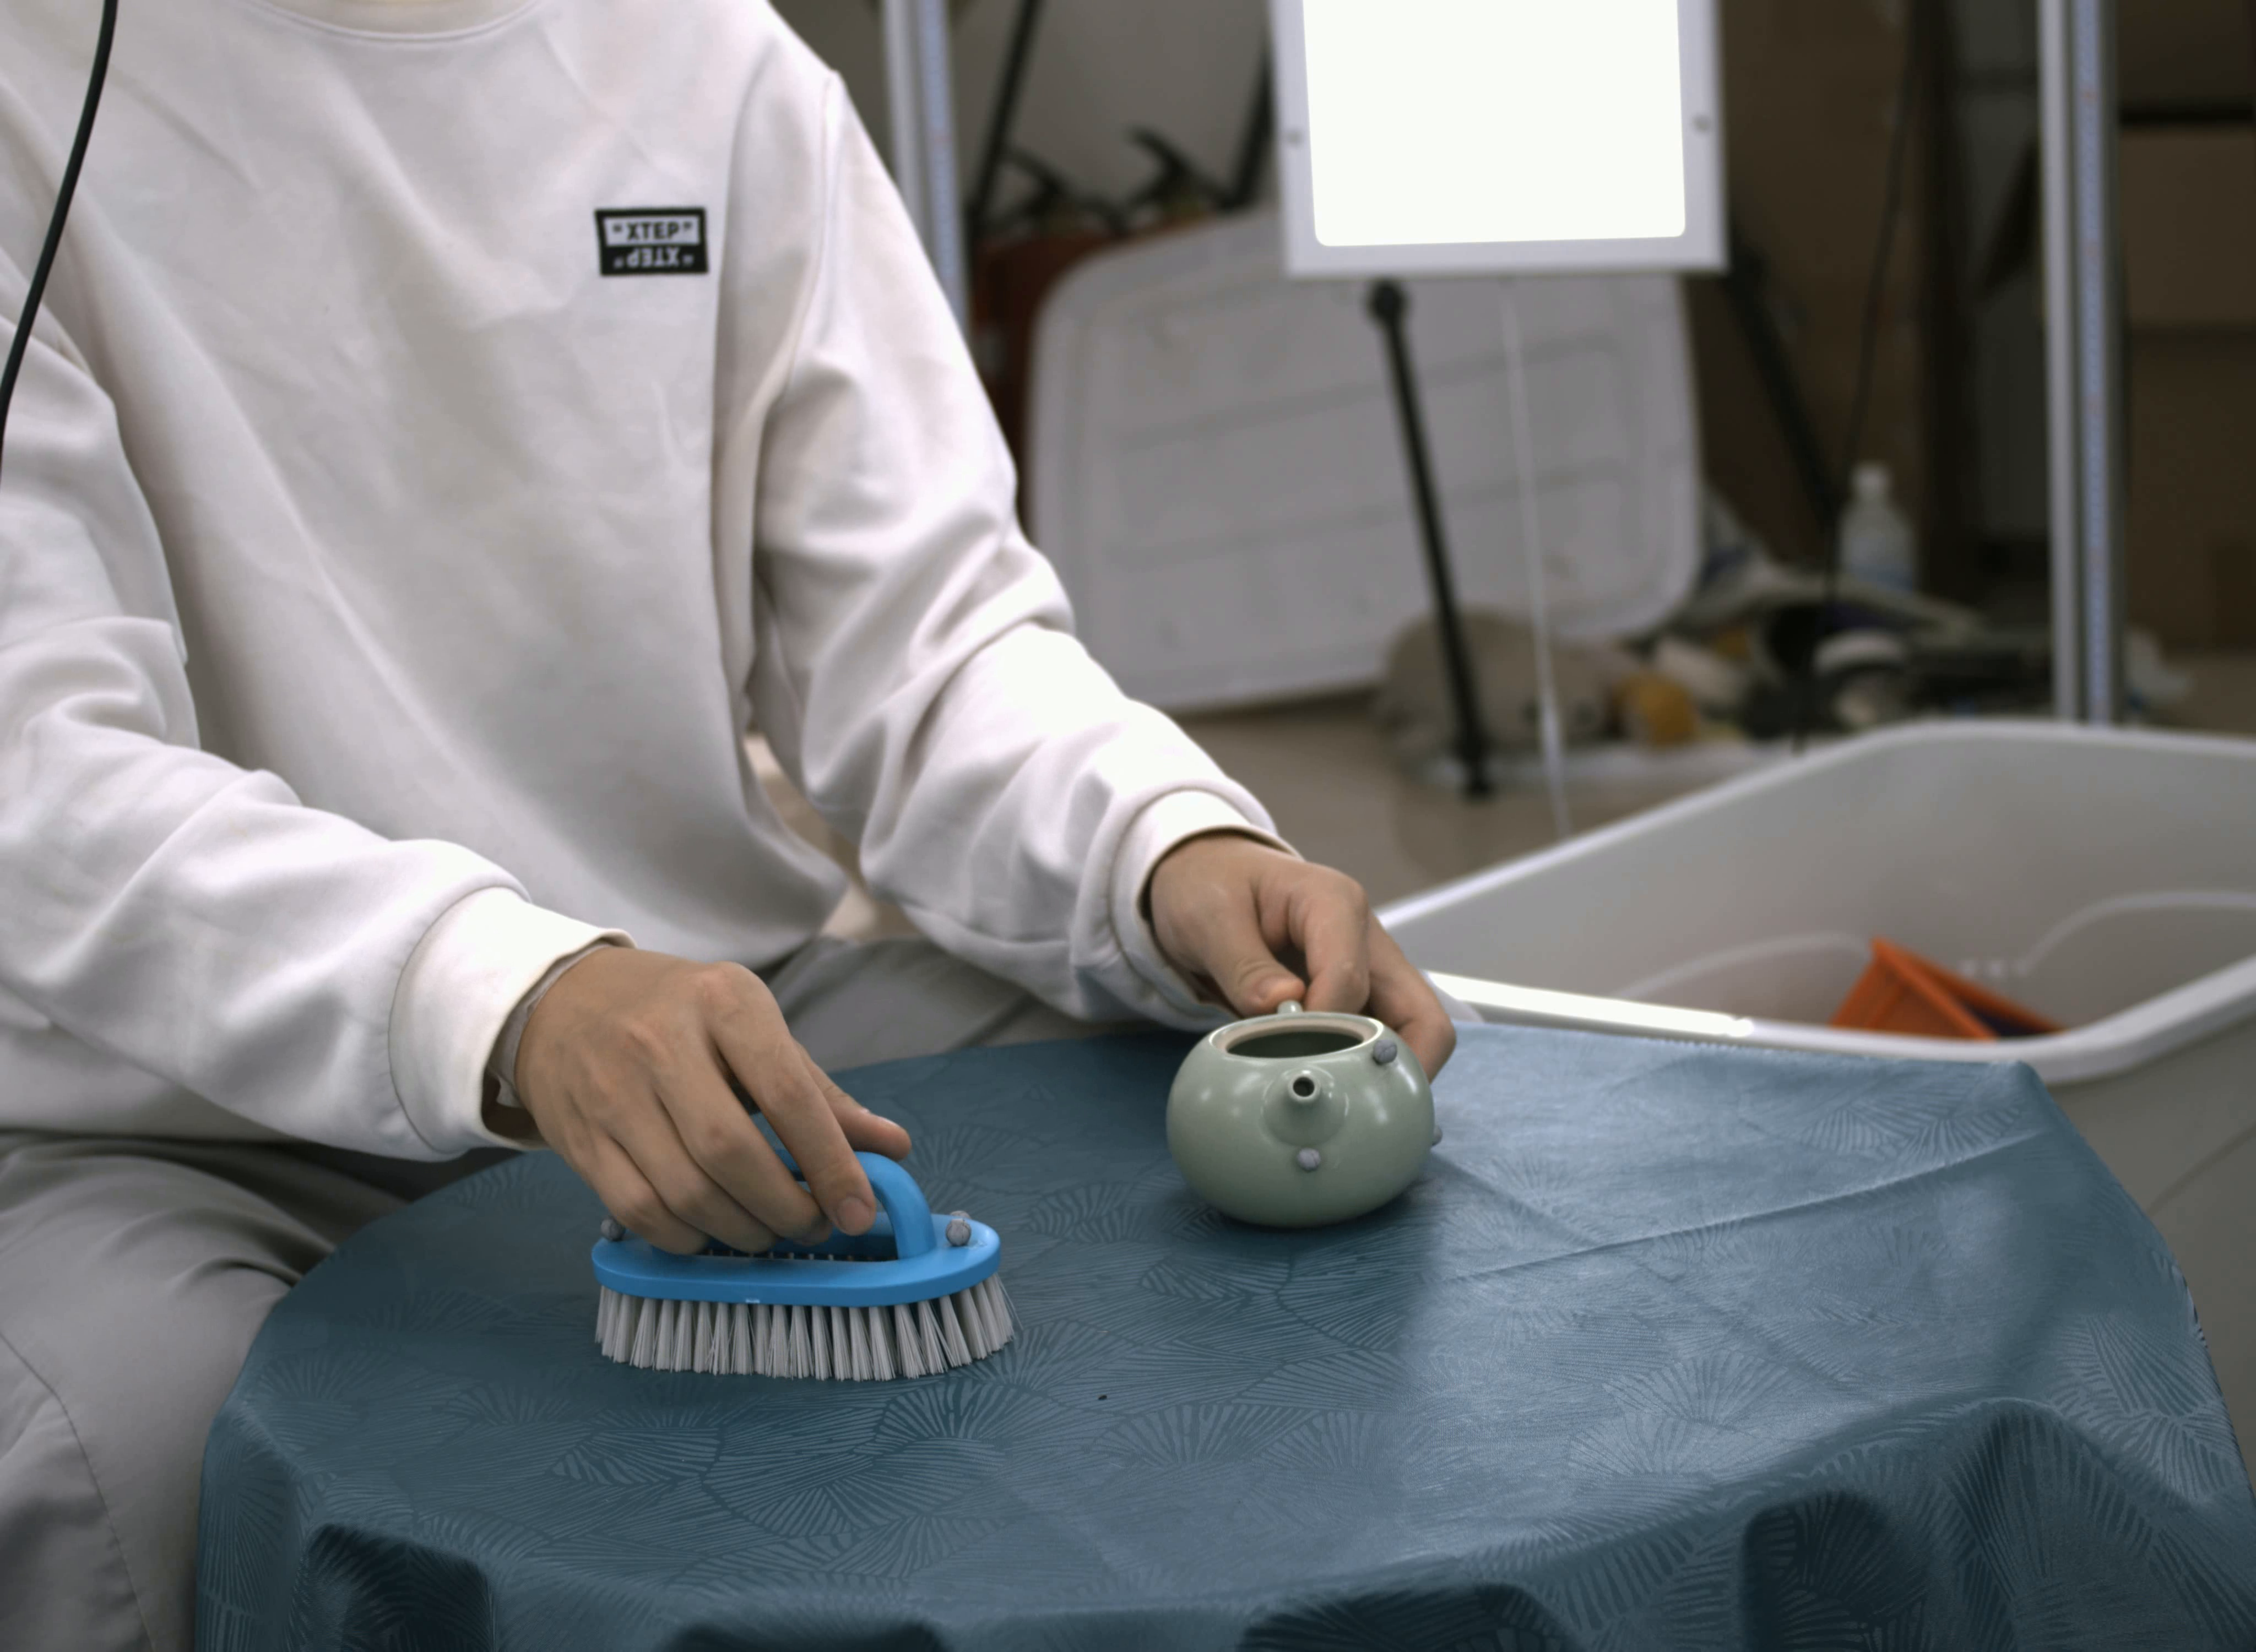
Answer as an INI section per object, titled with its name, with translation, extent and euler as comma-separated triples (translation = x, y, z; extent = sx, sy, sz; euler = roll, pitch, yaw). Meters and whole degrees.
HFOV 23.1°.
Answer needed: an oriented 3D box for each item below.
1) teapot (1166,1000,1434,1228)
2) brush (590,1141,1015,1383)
[teapot]
translation = 0.059, 0.097, 1.873
extent = 0.092, 0.061, 0.128
euler = -7, 12, 6
[brush]
translation = -0.108, 0.133, 1.771
extent = 0.144, 0.064, 0.083
euler = 0, 19, 23
